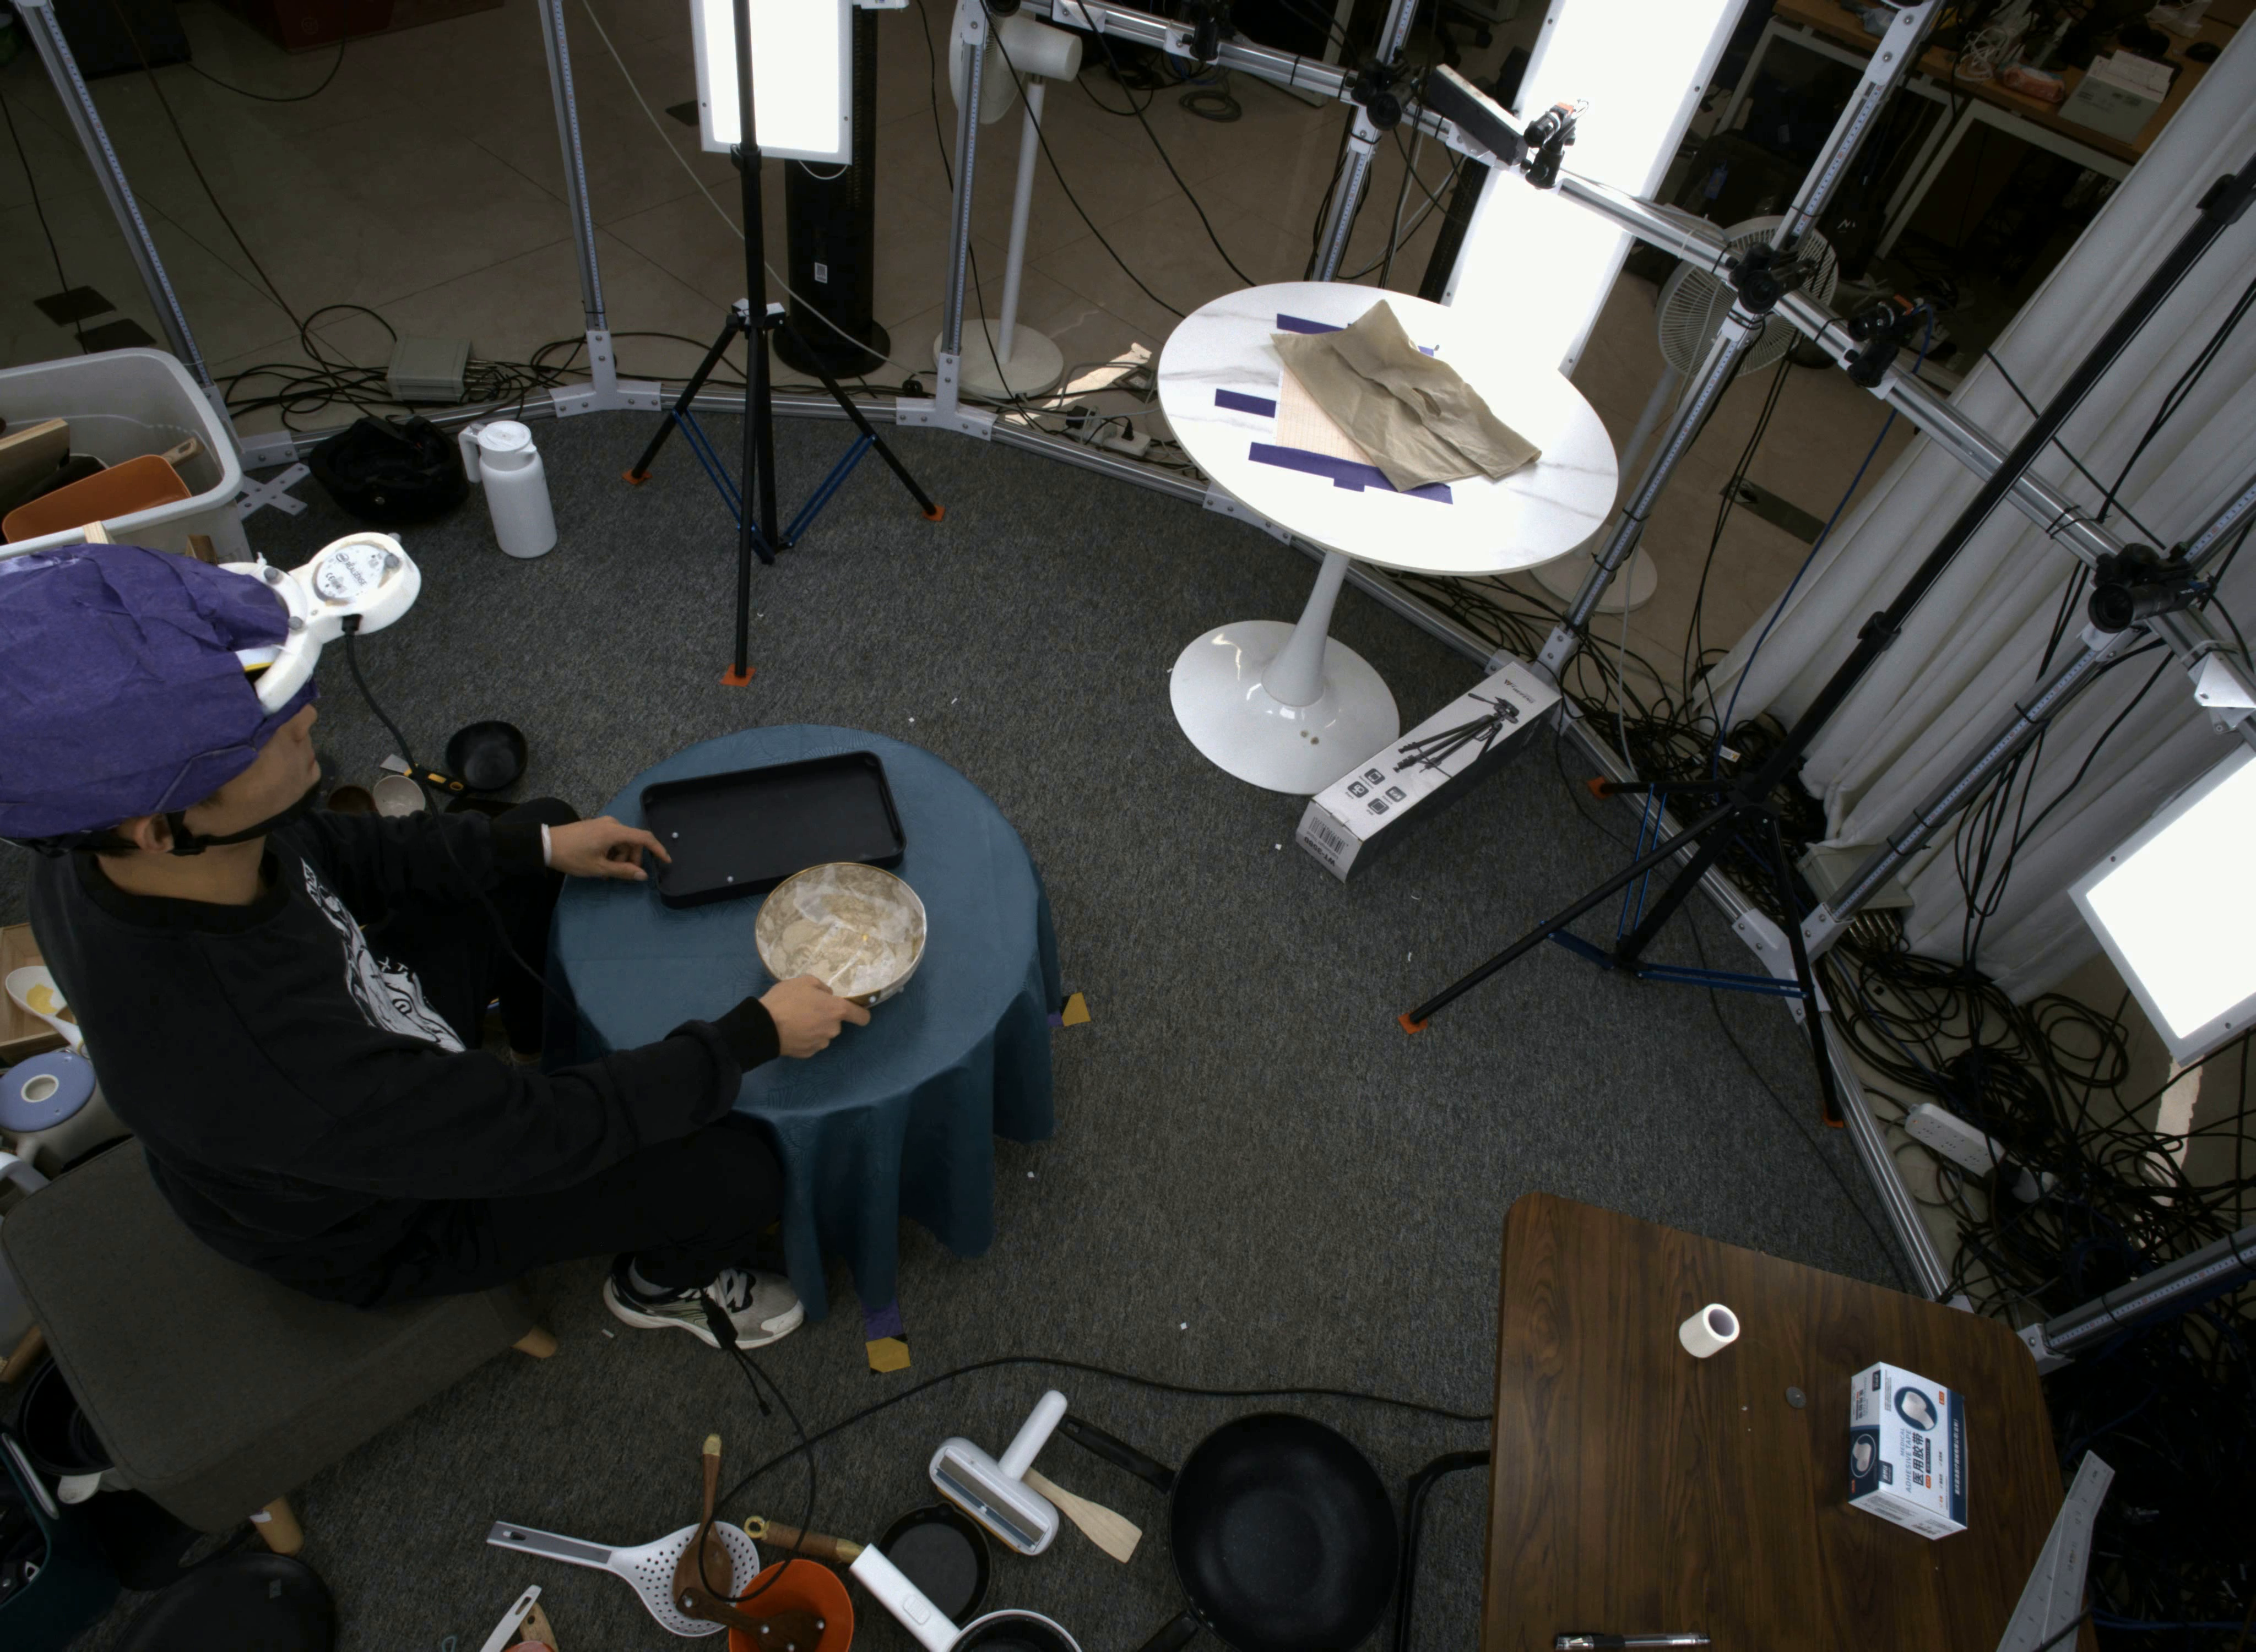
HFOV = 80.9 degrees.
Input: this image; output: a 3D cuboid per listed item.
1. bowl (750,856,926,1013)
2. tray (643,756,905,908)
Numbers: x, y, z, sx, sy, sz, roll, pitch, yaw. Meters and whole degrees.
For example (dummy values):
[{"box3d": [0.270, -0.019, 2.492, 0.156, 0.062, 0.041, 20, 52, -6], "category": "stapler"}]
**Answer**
[{"box3d": [-0.350, 0.145, 1.580, 0.213, 0.097, 0.211, 6, 52, -6], "category": "bowl"}, {"box3d": [-0.464, 0.003, 1.697, 0.320, 0.038, 0.179, -8, 56, -22], "category": "tray"}]
